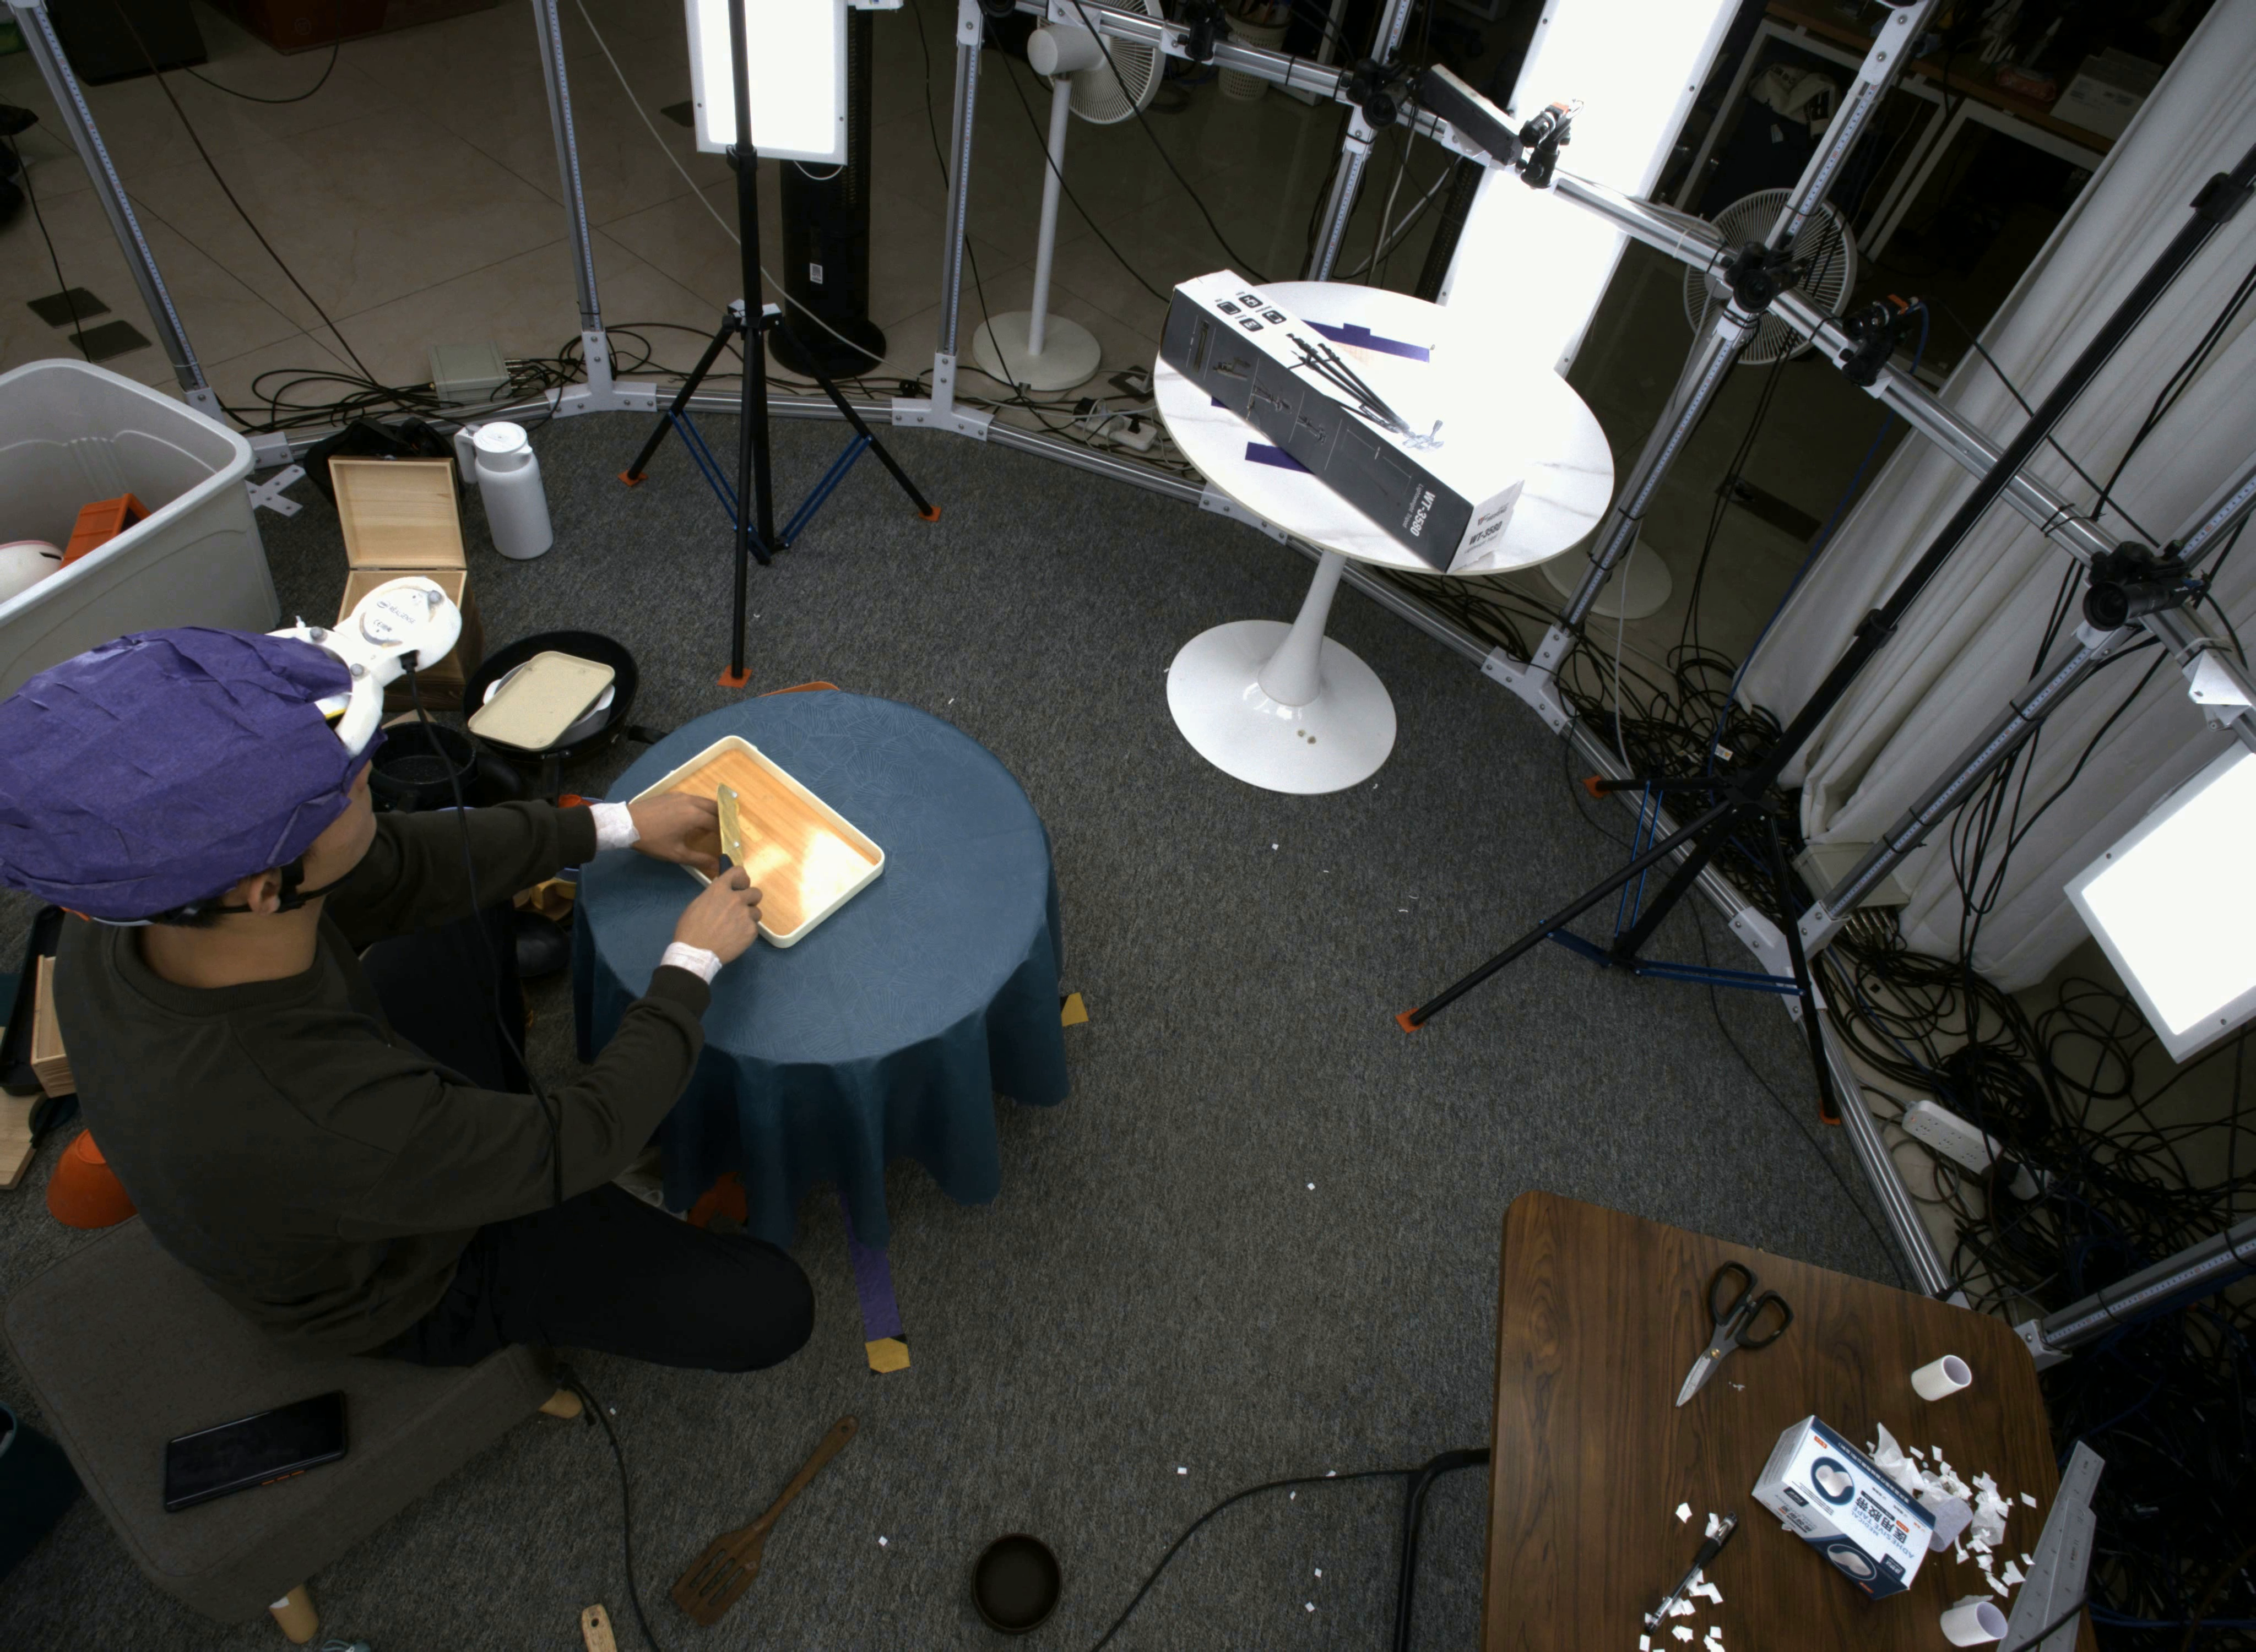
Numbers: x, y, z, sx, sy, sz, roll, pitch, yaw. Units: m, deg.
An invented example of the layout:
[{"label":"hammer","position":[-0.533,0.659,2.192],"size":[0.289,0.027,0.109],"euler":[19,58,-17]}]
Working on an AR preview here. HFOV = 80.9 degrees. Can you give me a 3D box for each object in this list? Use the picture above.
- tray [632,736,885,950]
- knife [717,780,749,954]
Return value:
[{"label":"tray","position":[-0.484,0.015,1.692],"size":[0.294,0.028,0.191],"euler":[37,55,14]},{"label":"knife","position":[-0.494,0.047,1.614],"size":[0.027,0.084,0.282],"euler":[-18,50,1]}]
